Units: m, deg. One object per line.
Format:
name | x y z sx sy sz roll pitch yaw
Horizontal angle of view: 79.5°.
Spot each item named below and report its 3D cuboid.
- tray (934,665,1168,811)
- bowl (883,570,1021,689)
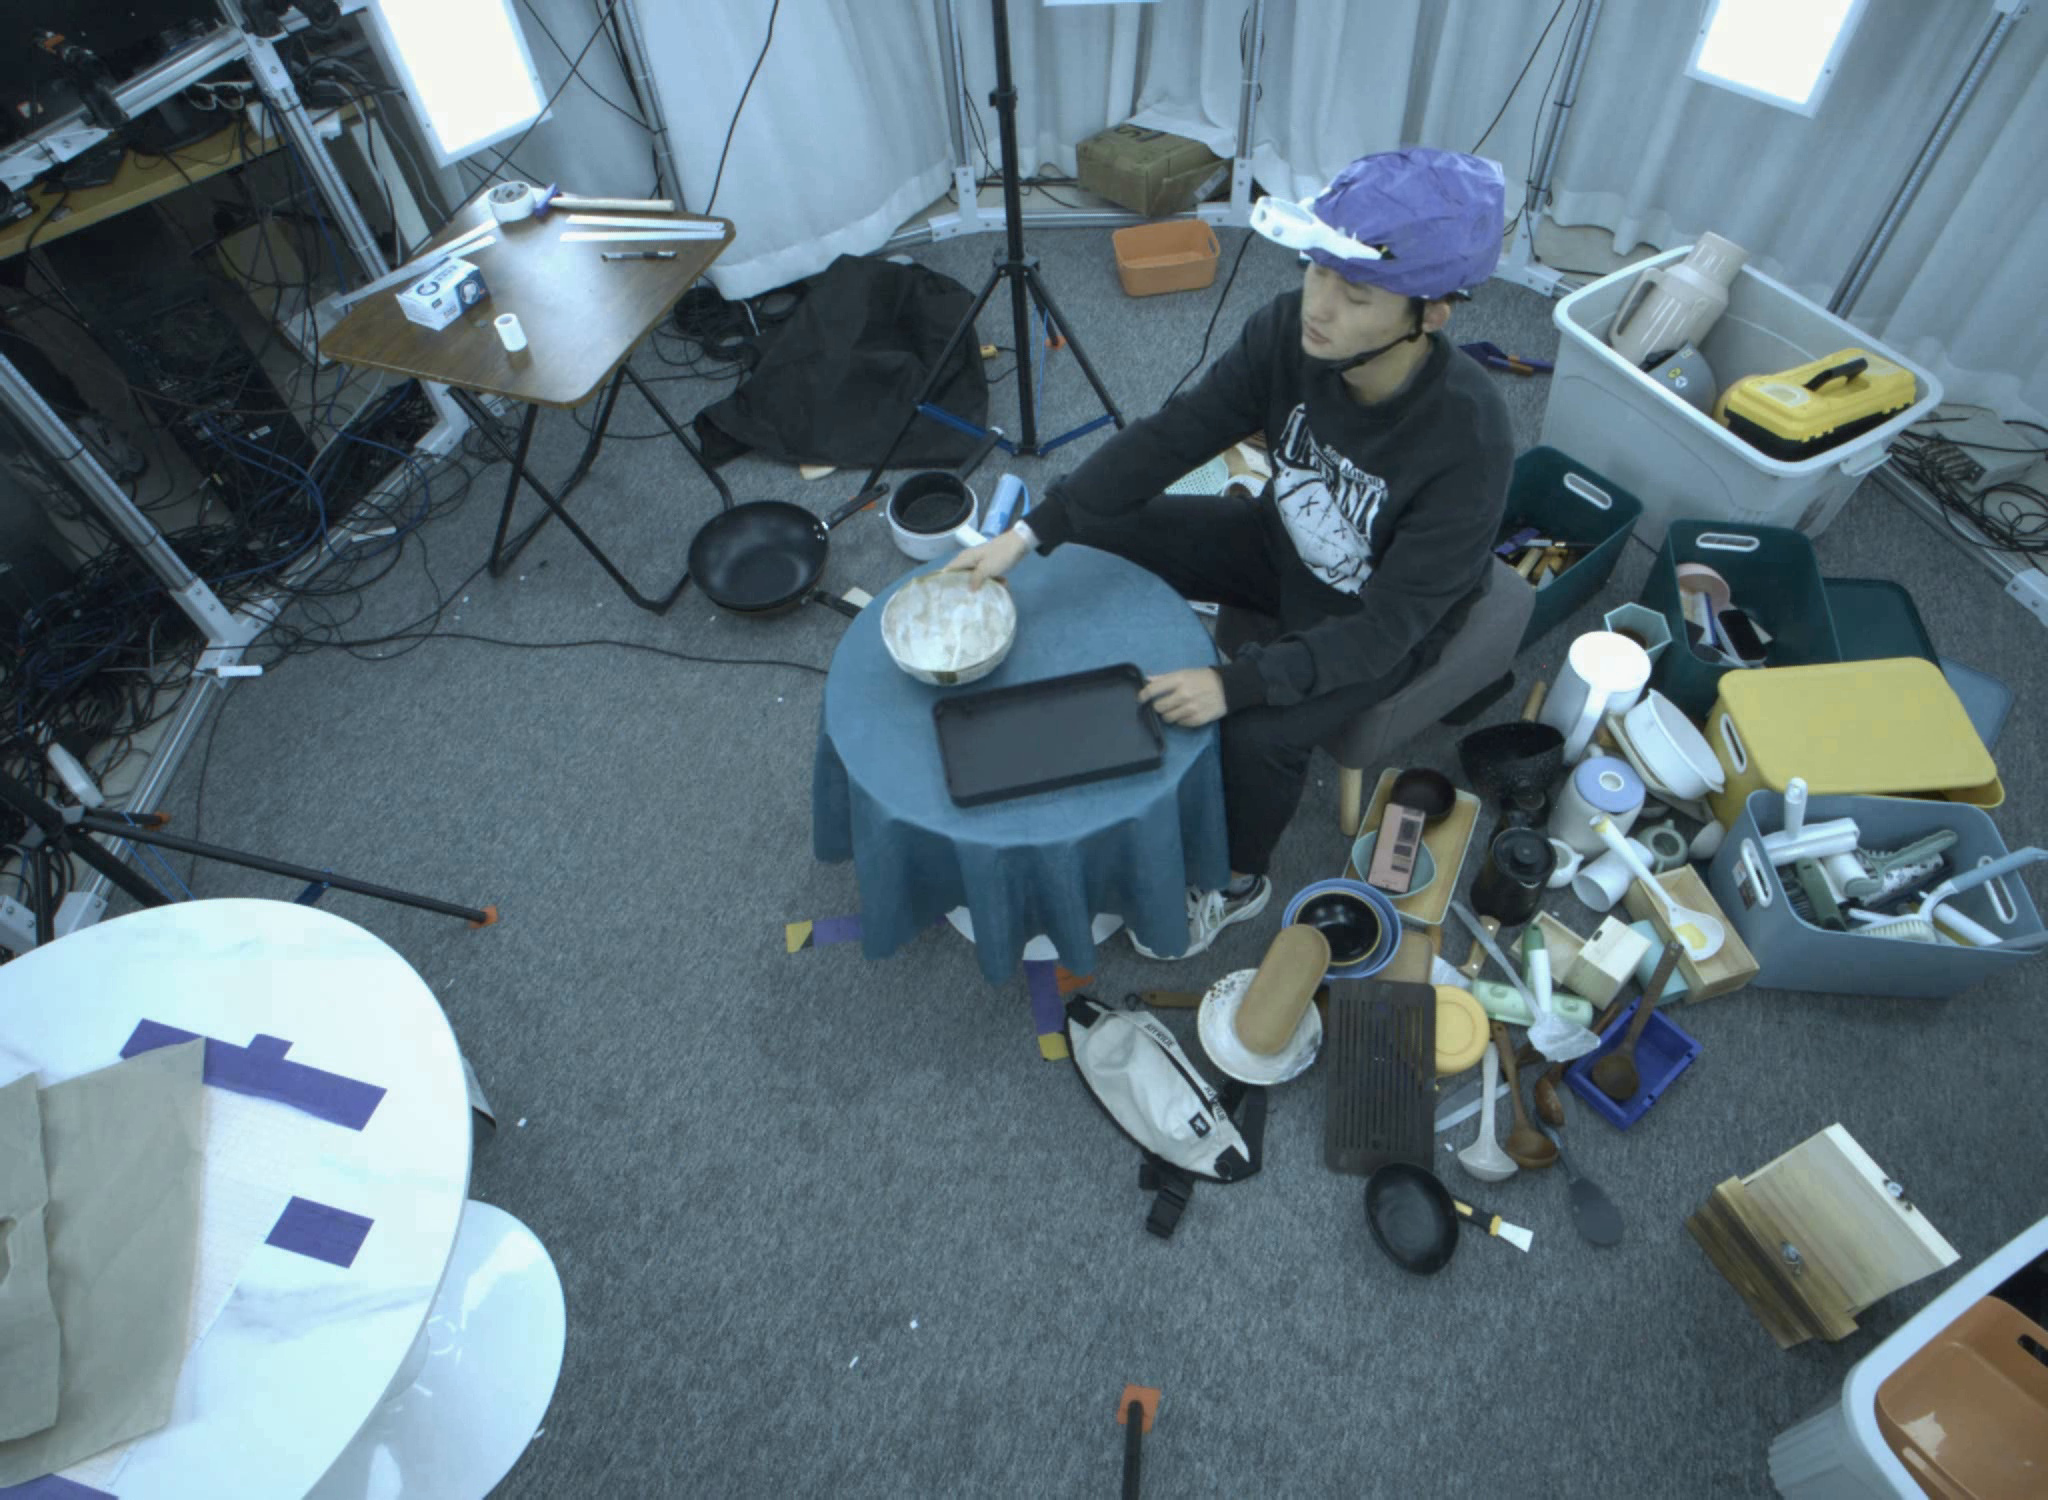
tray | 0.037 -0.019 1.789 0.319 0.037 0.181 -10 56 -5
bowl | -0.103 -0.166 1.860 0.214 0.095 0.212 -1 56 2
